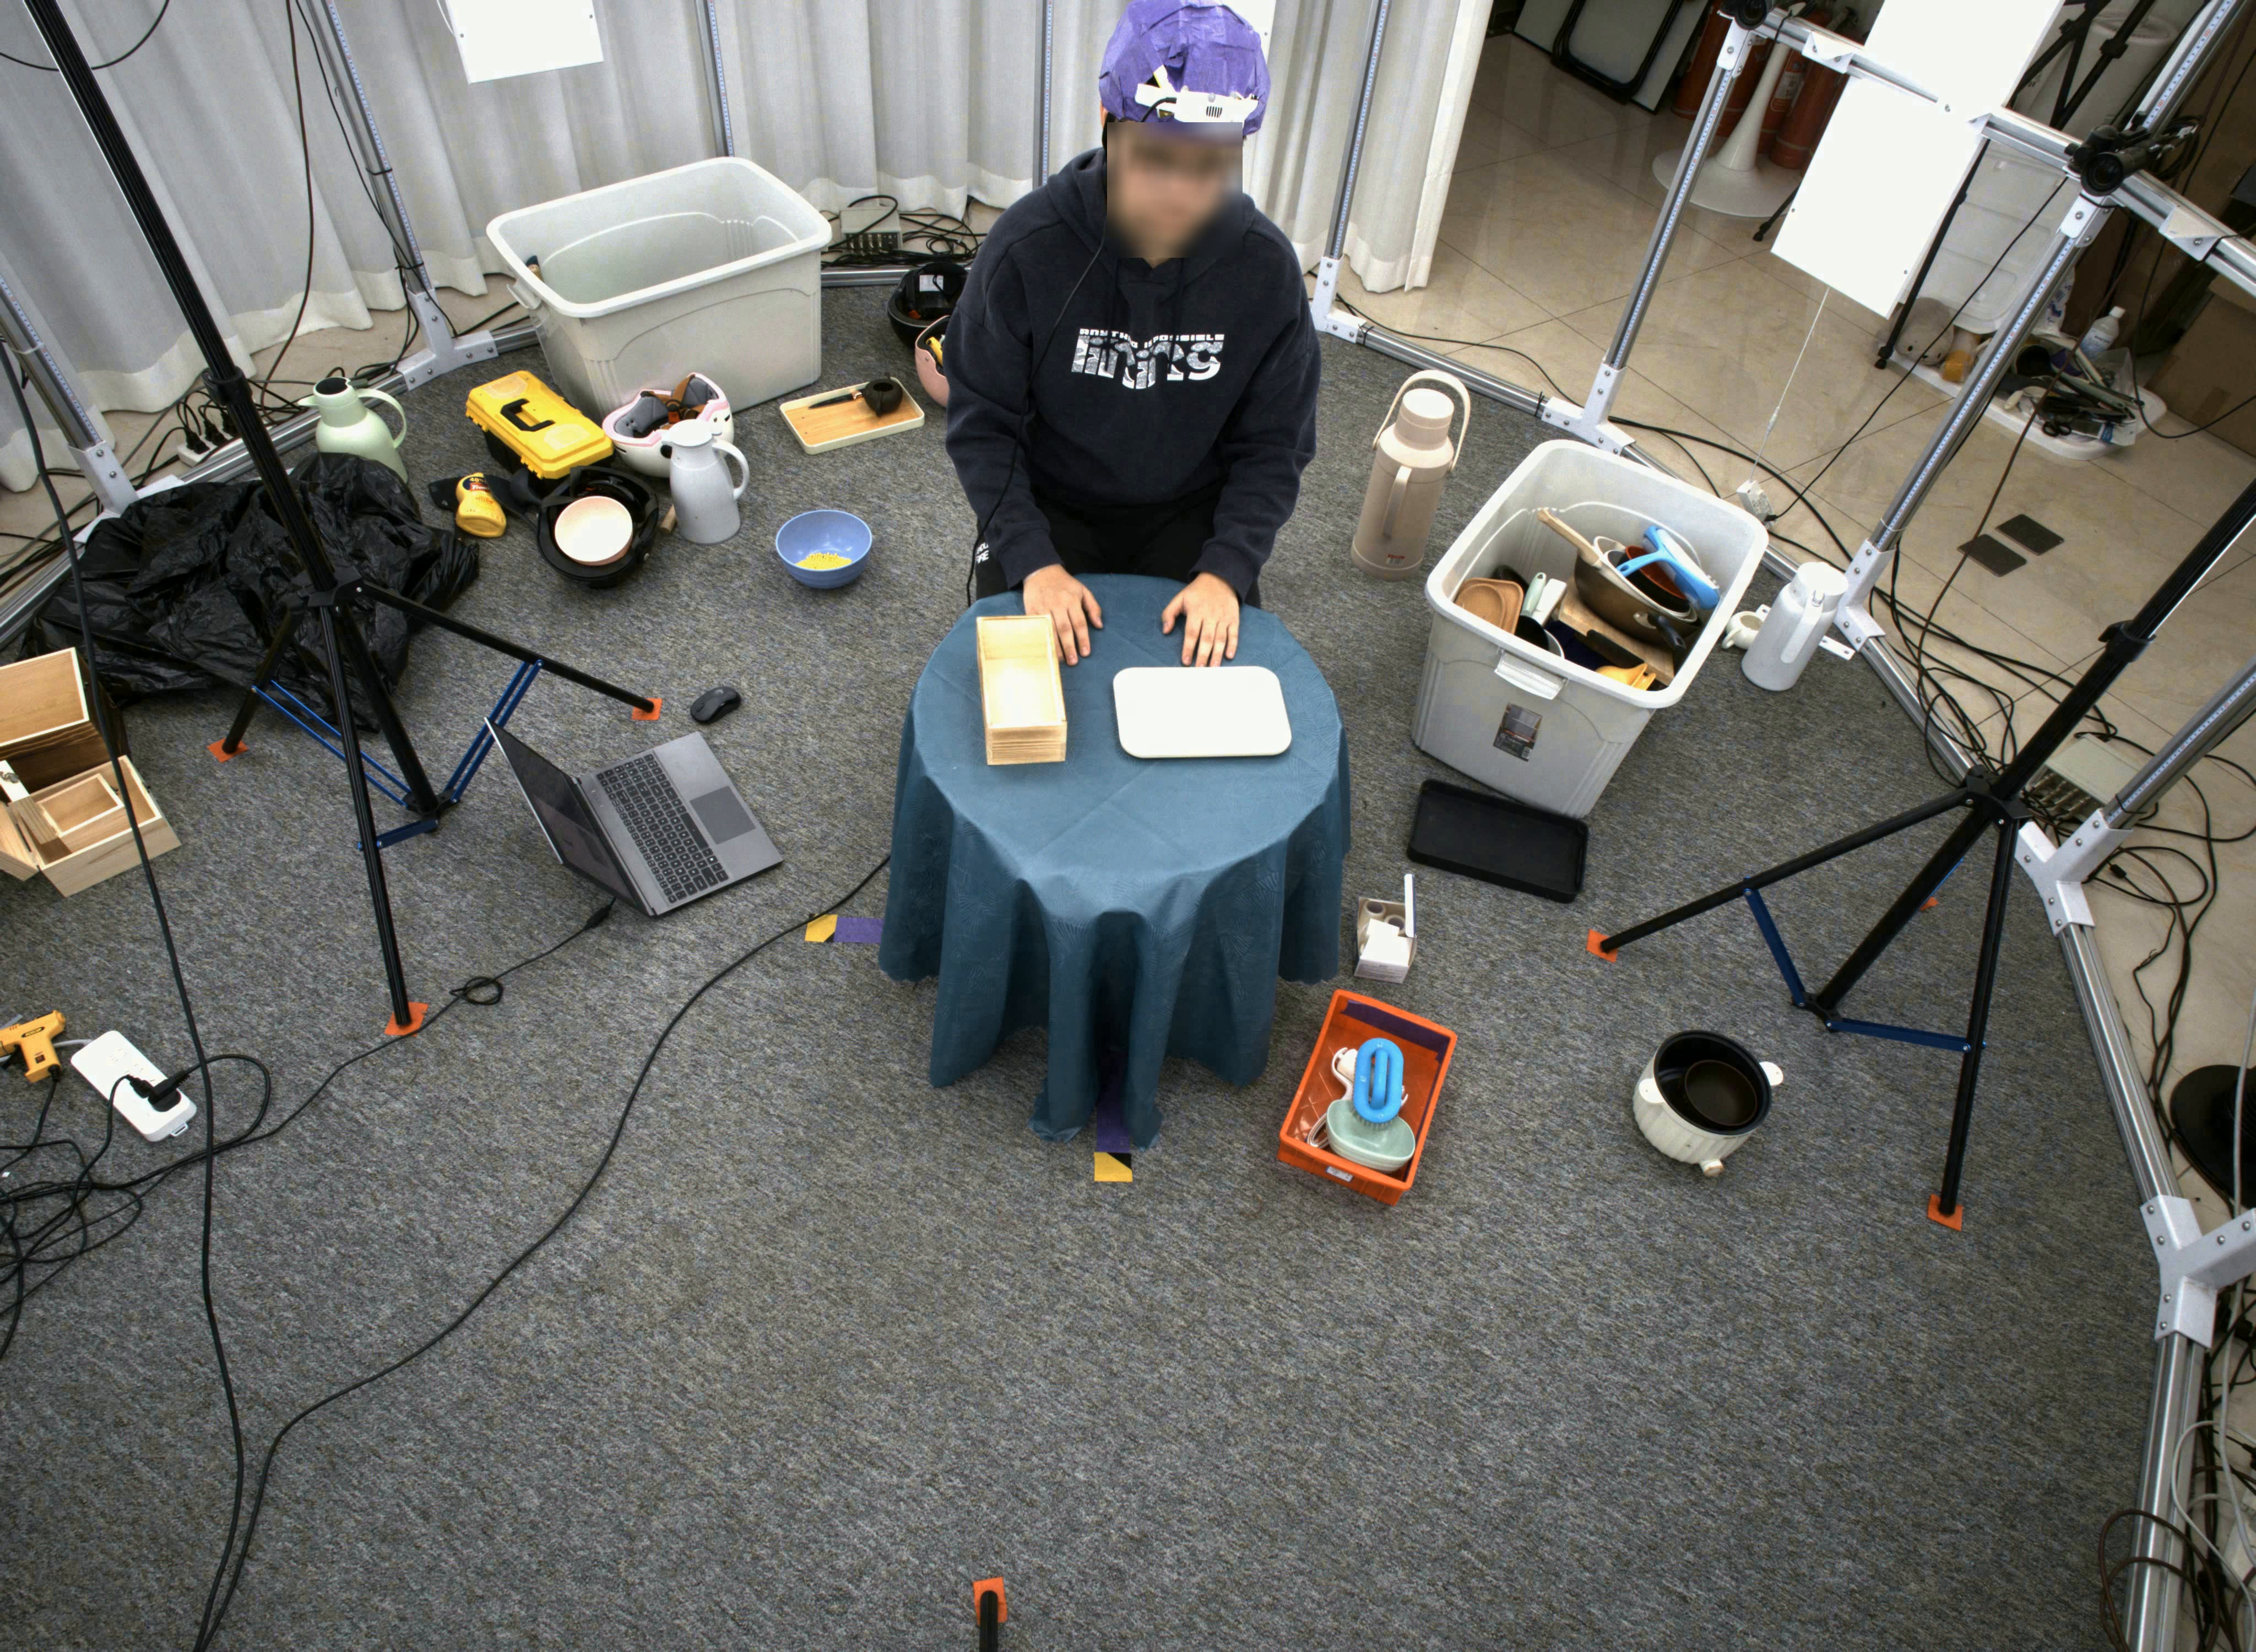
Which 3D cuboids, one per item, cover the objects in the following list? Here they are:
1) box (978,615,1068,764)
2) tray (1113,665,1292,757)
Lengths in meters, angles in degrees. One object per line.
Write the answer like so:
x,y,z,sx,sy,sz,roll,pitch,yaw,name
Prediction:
-0.147,-0.191,1.768,0.107,0.078,0.217,-3,49,-8,box
0.102,-0.161,1.801,0.239,0.017,0.175,-2,49,-6,tray
